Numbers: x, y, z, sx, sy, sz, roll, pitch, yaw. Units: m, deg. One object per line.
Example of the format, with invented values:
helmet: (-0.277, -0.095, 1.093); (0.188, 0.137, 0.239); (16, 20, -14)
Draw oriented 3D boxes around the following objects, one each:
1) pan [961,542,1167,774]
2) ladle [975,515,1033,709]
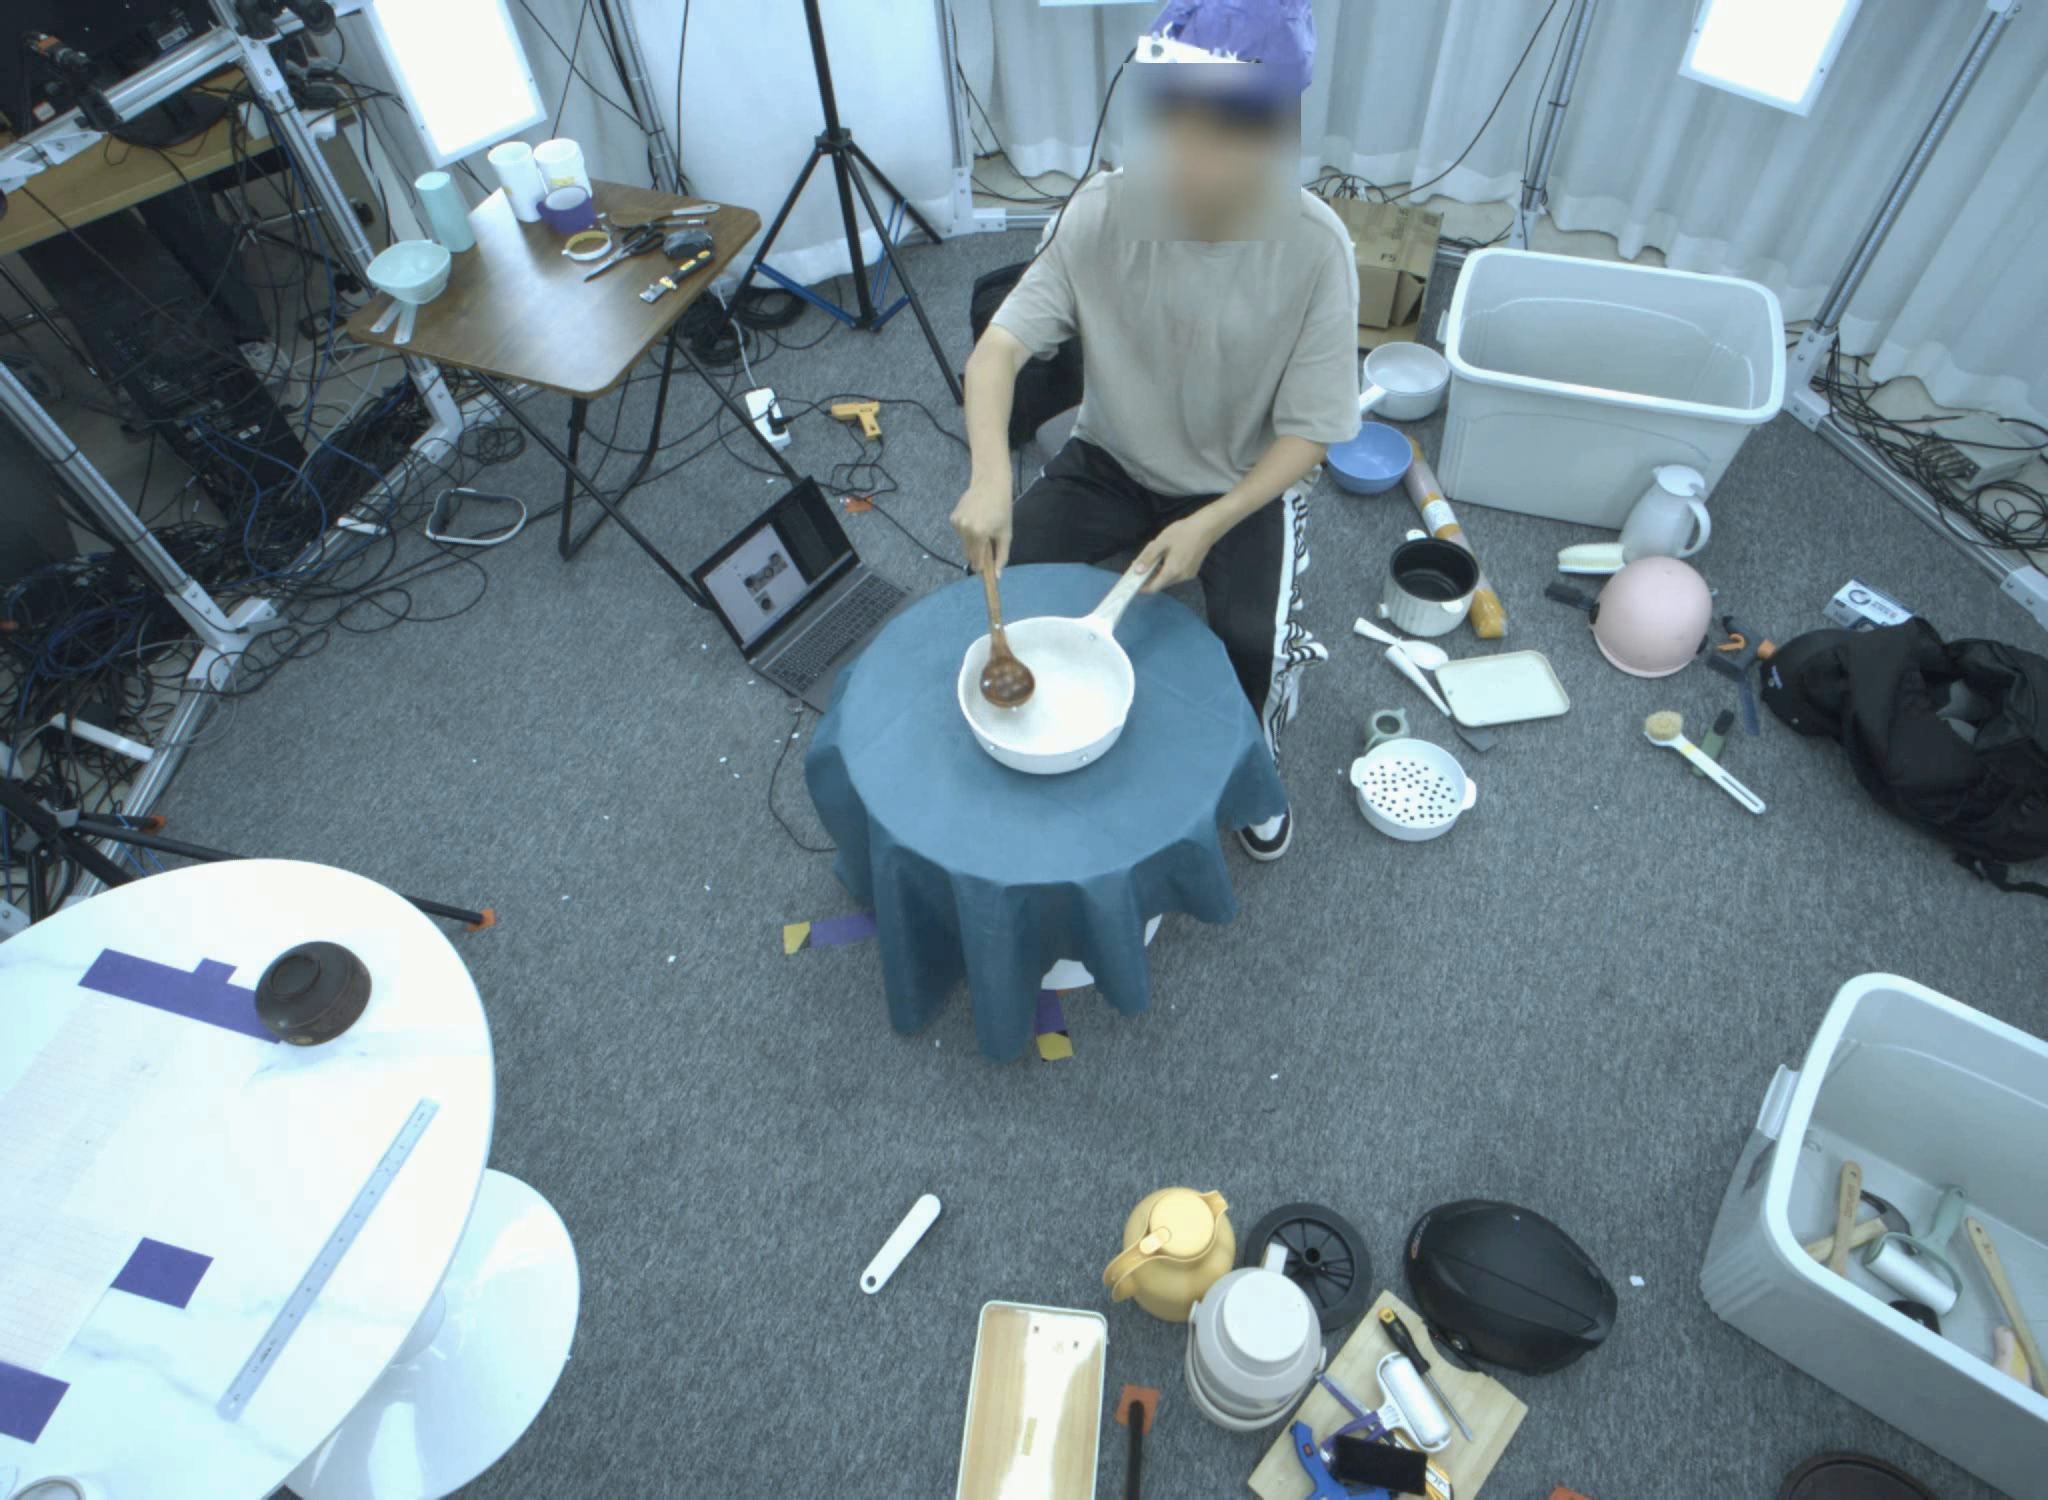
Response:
pan: (0.091, -0.139, 1.818); (0.259, 0.103, 0.437); (28, 60, 22)
ladle: (-0.040, -0.193, 1.740); (0.083, 0.276, 0.075); (-11, 20, -14)
